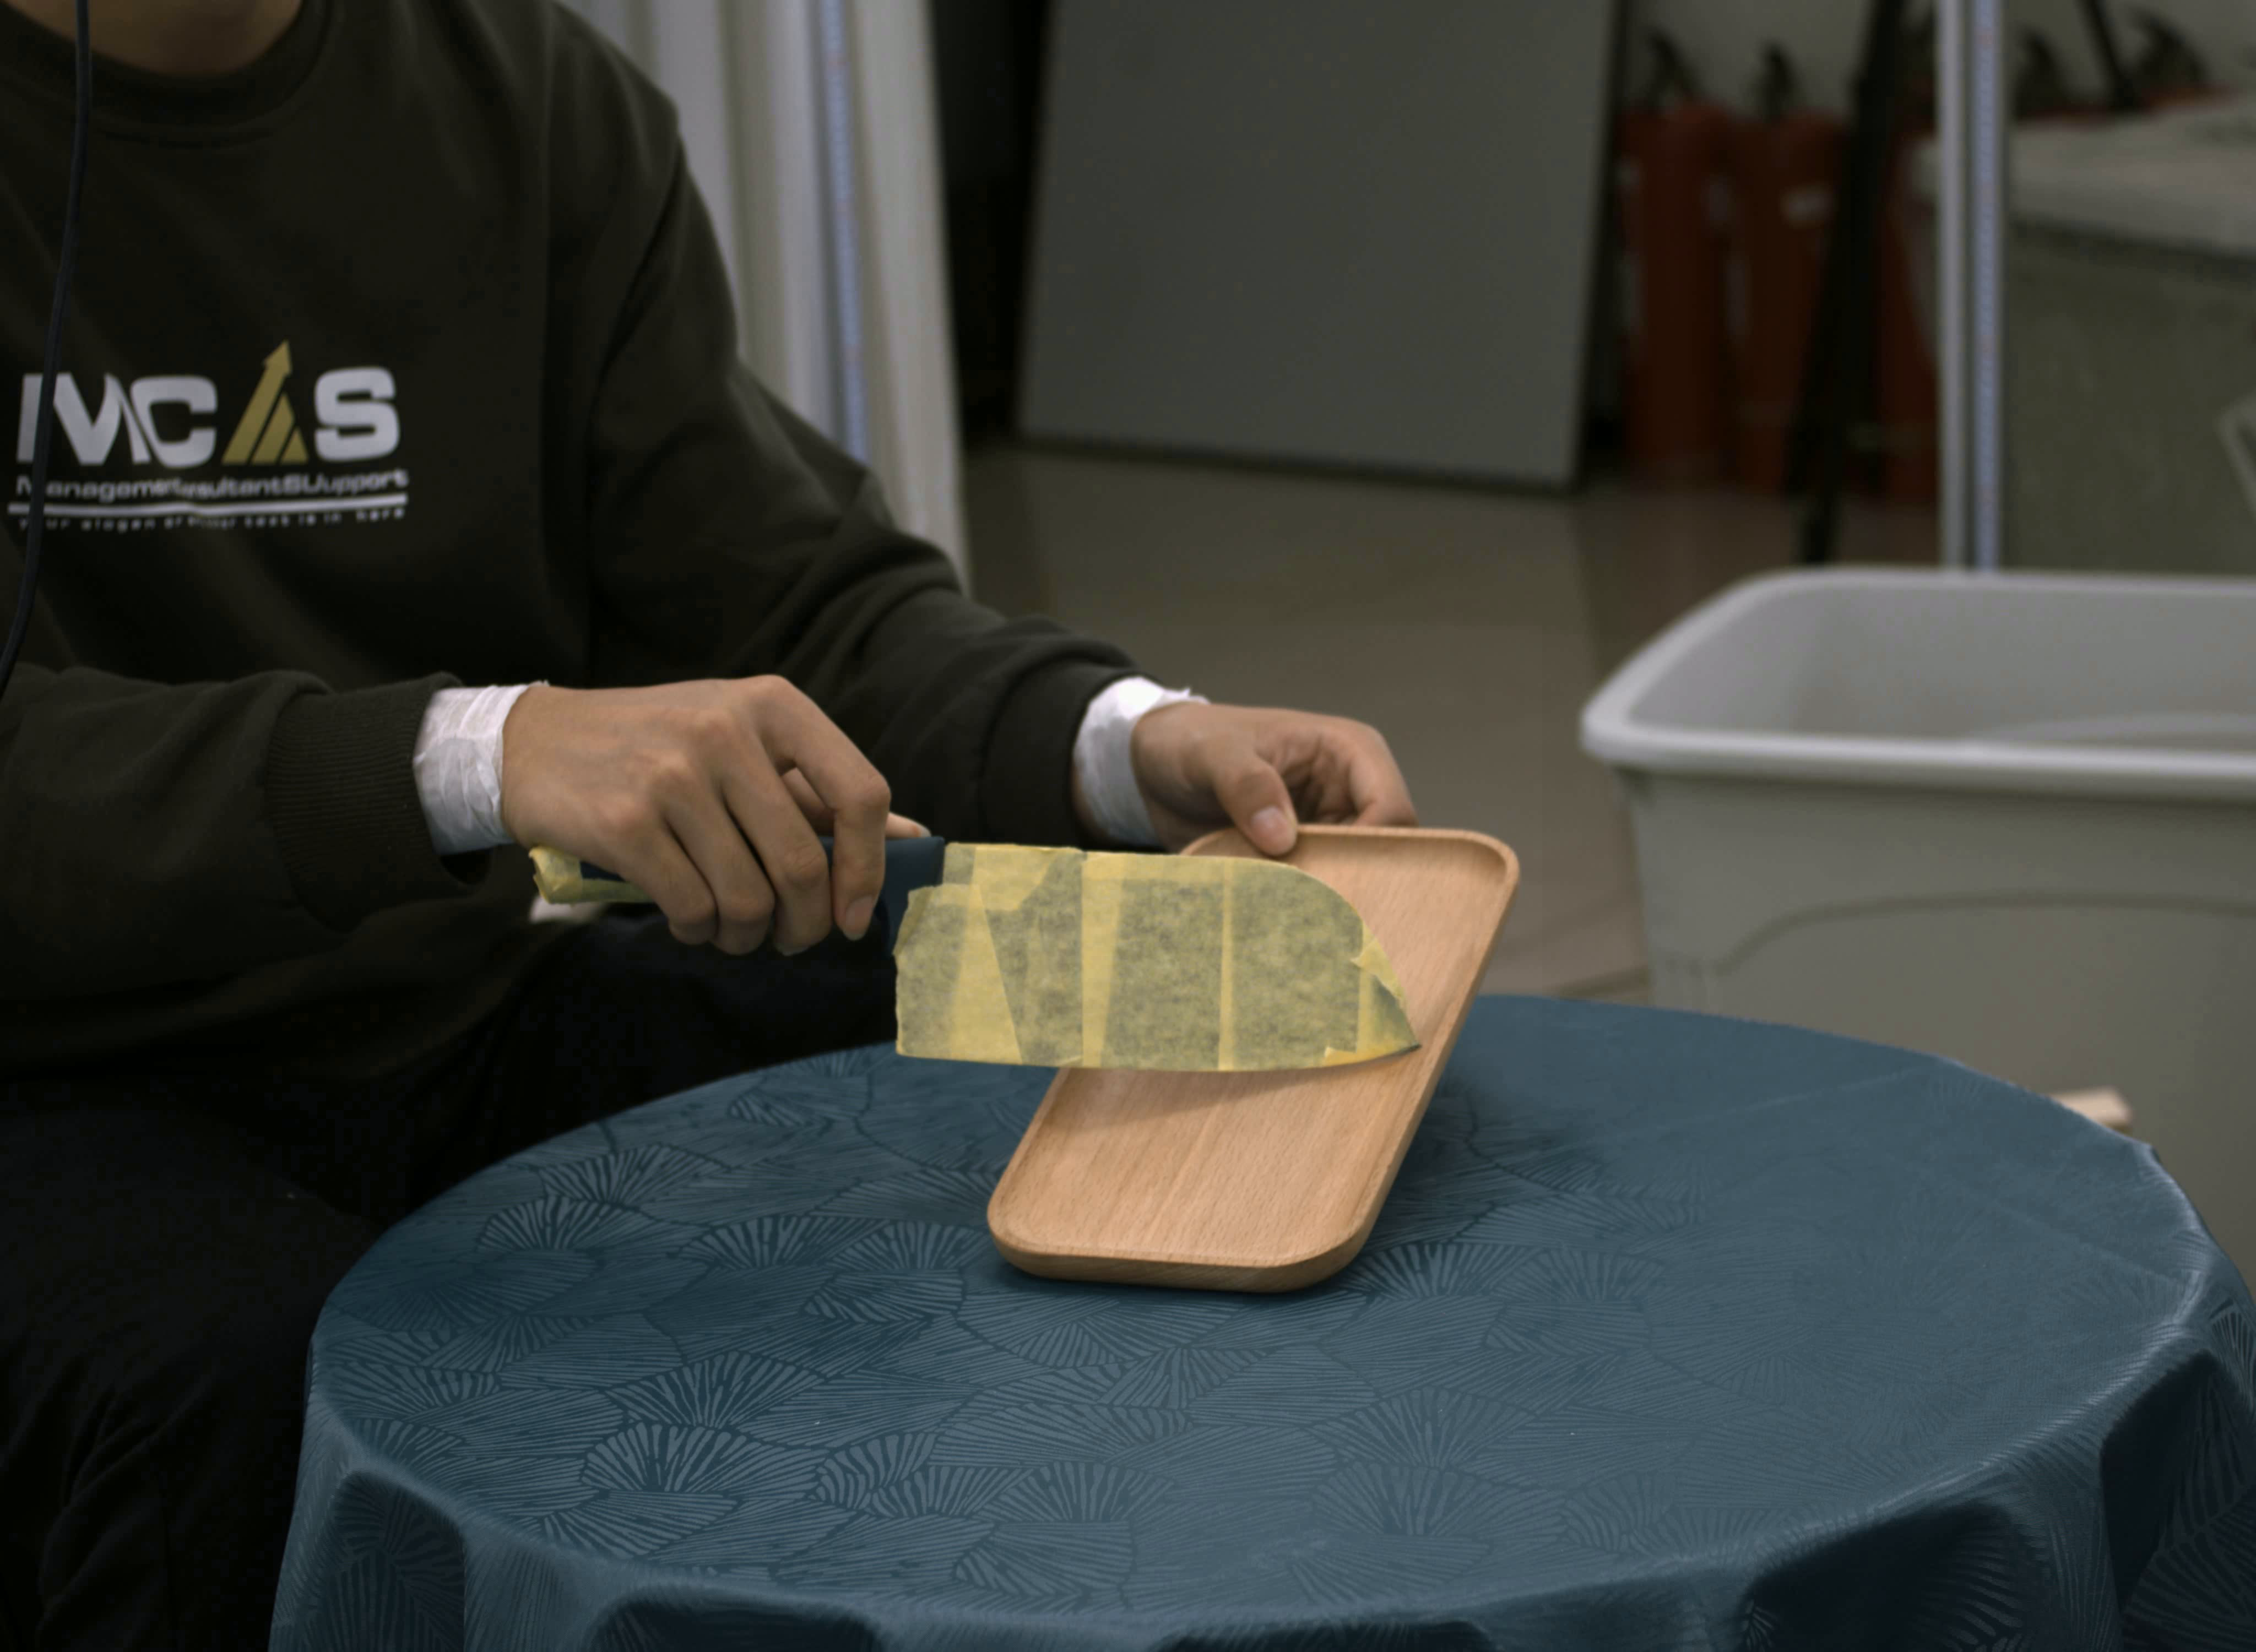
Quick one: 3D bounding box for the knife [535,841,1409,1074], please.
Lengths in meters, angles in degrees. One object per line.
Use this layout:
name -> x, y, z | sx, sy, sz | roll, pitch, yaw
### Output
knife -> -0.050, 0.040, 1.748 | 0.285, 0.082, 0.027 | 5, -17, -1

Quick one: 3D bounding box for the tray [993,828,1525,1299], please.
tray -> 0.047, 0.075, 1.765 | 0.130, 0.023, 0.250 | -2, 33, 22
